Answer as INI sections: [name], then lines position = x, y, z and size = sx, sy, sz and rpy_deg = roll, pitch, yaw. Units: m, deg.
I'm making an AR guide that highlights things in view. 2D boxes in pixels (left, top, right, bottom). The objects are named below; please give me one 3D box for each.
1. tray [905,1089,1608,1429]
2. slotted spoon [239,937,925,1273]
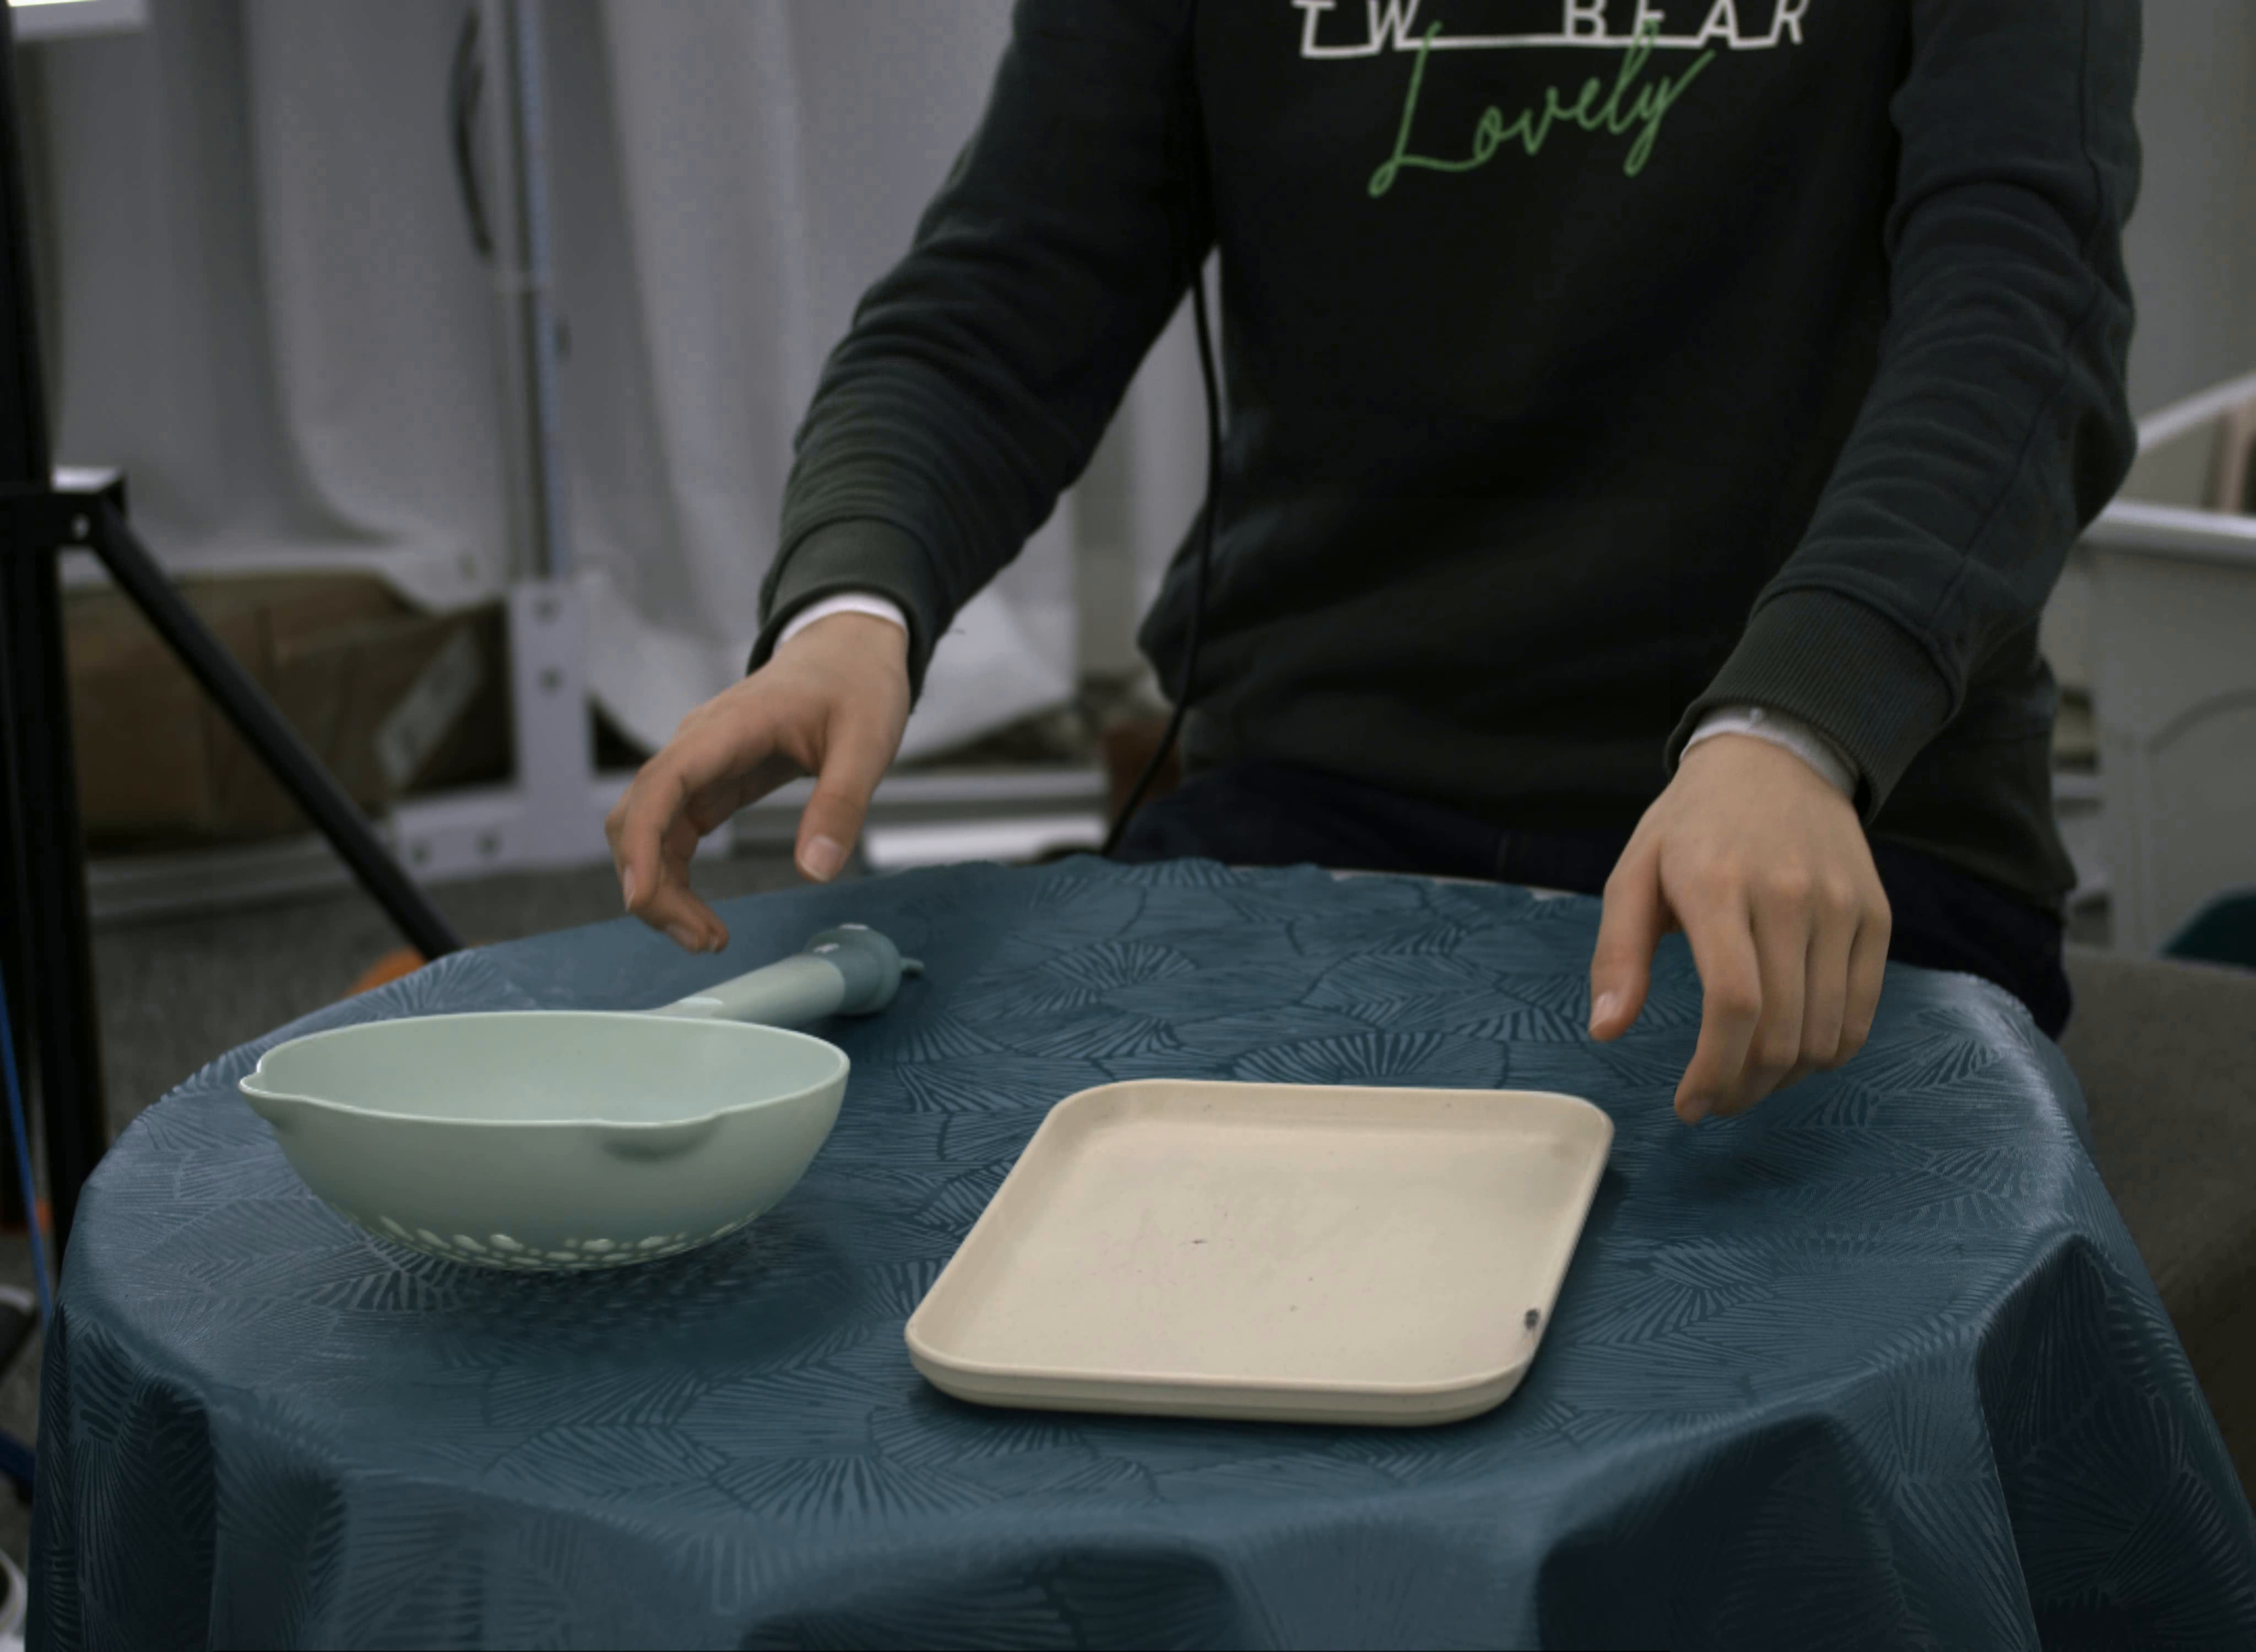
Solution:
[tray]
position = 0.041, 0.119, 1.481
size = 0.172, 0.017, 0.238
rpy_deg = 1, 15, 12
[slotted spoon]
position = -0.132, 0.068, 1.608
size = 0.171, 0.075, 0.355
rpy_deg = 4, 16, 19
